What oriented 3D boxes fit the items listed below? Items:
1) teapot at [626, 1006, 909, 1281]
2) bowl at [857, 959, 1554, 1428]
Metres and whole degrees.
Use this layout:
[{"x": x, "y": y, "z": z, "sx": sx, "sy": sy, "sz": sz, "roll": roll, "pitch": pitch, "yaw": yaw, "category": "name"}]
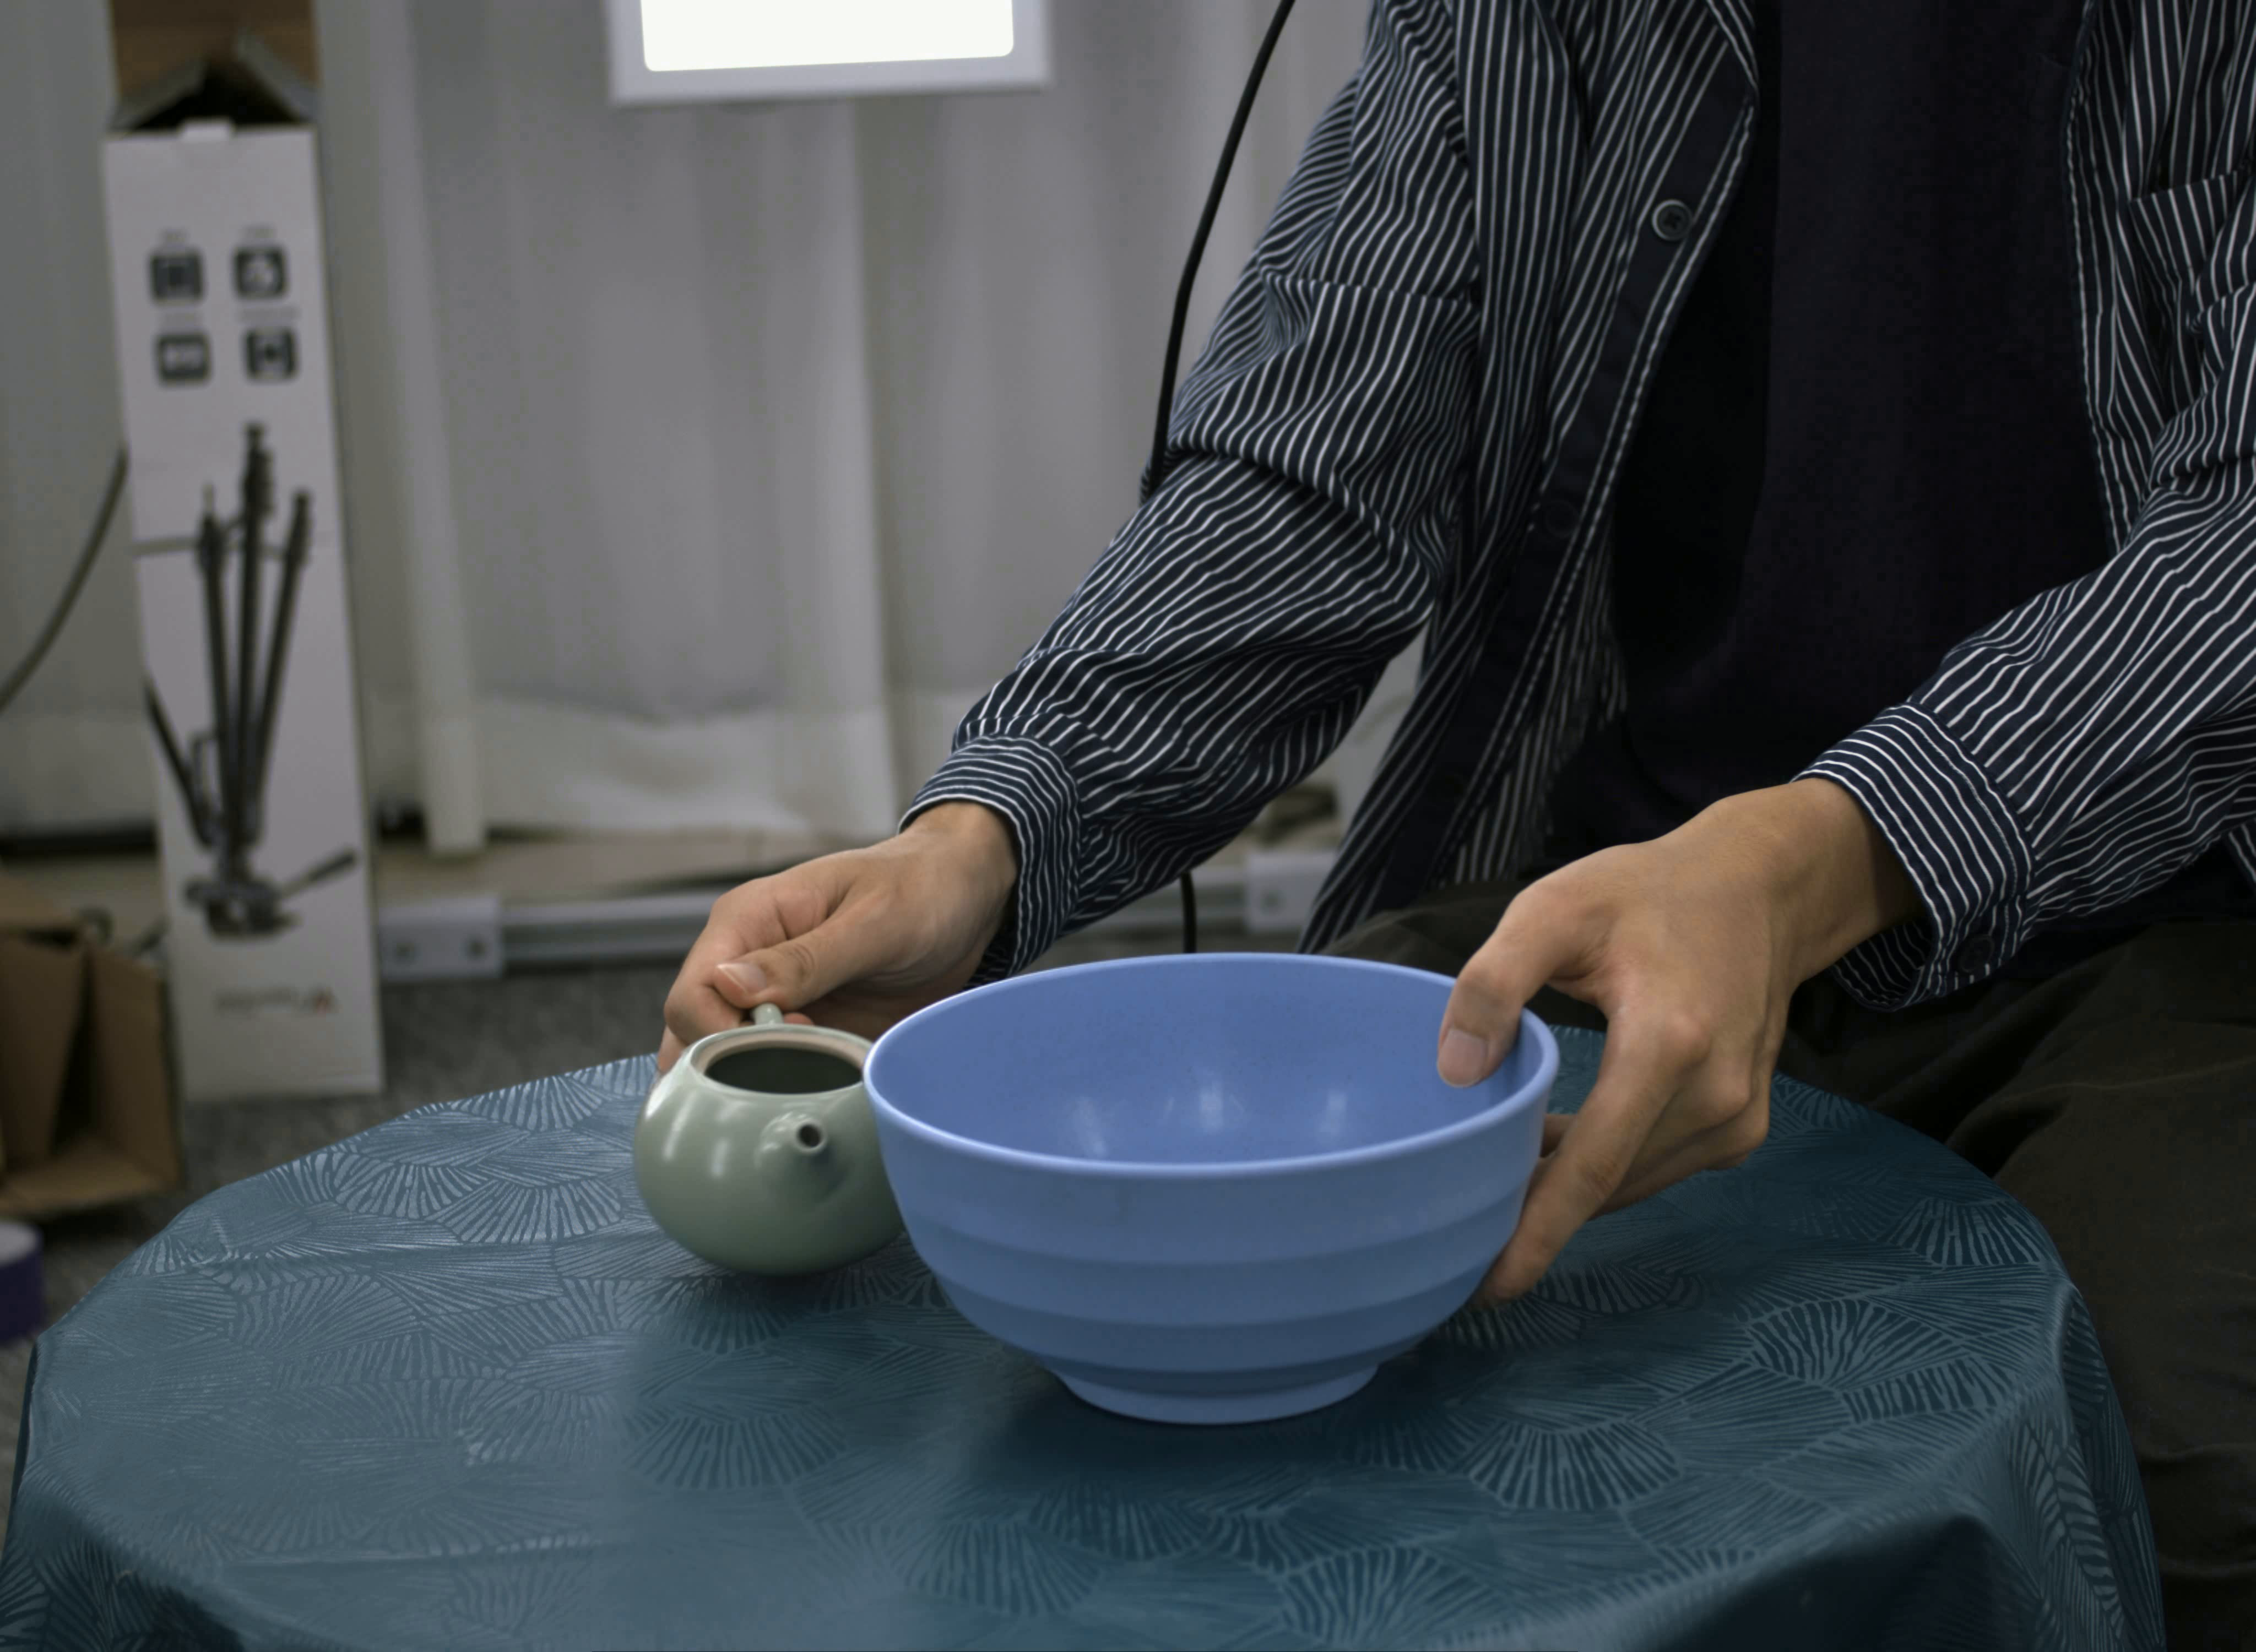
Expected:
[{"x": -0.107, "y": 0.096, "z": 1.663, "sx": 0.091, "sy": 0.060, "sz": 0.129, "roll": -1, "pitch": 18, "yaw": -6, "category": "teapot"}, {"x": 0.024, "y": 0.110, "z": 1.546, "sx": 0.196, "sy": 0.095, "sz": 0.198, "roll": -3, "pitch": 15, "yaw": 0, "category": "bowl"}]
